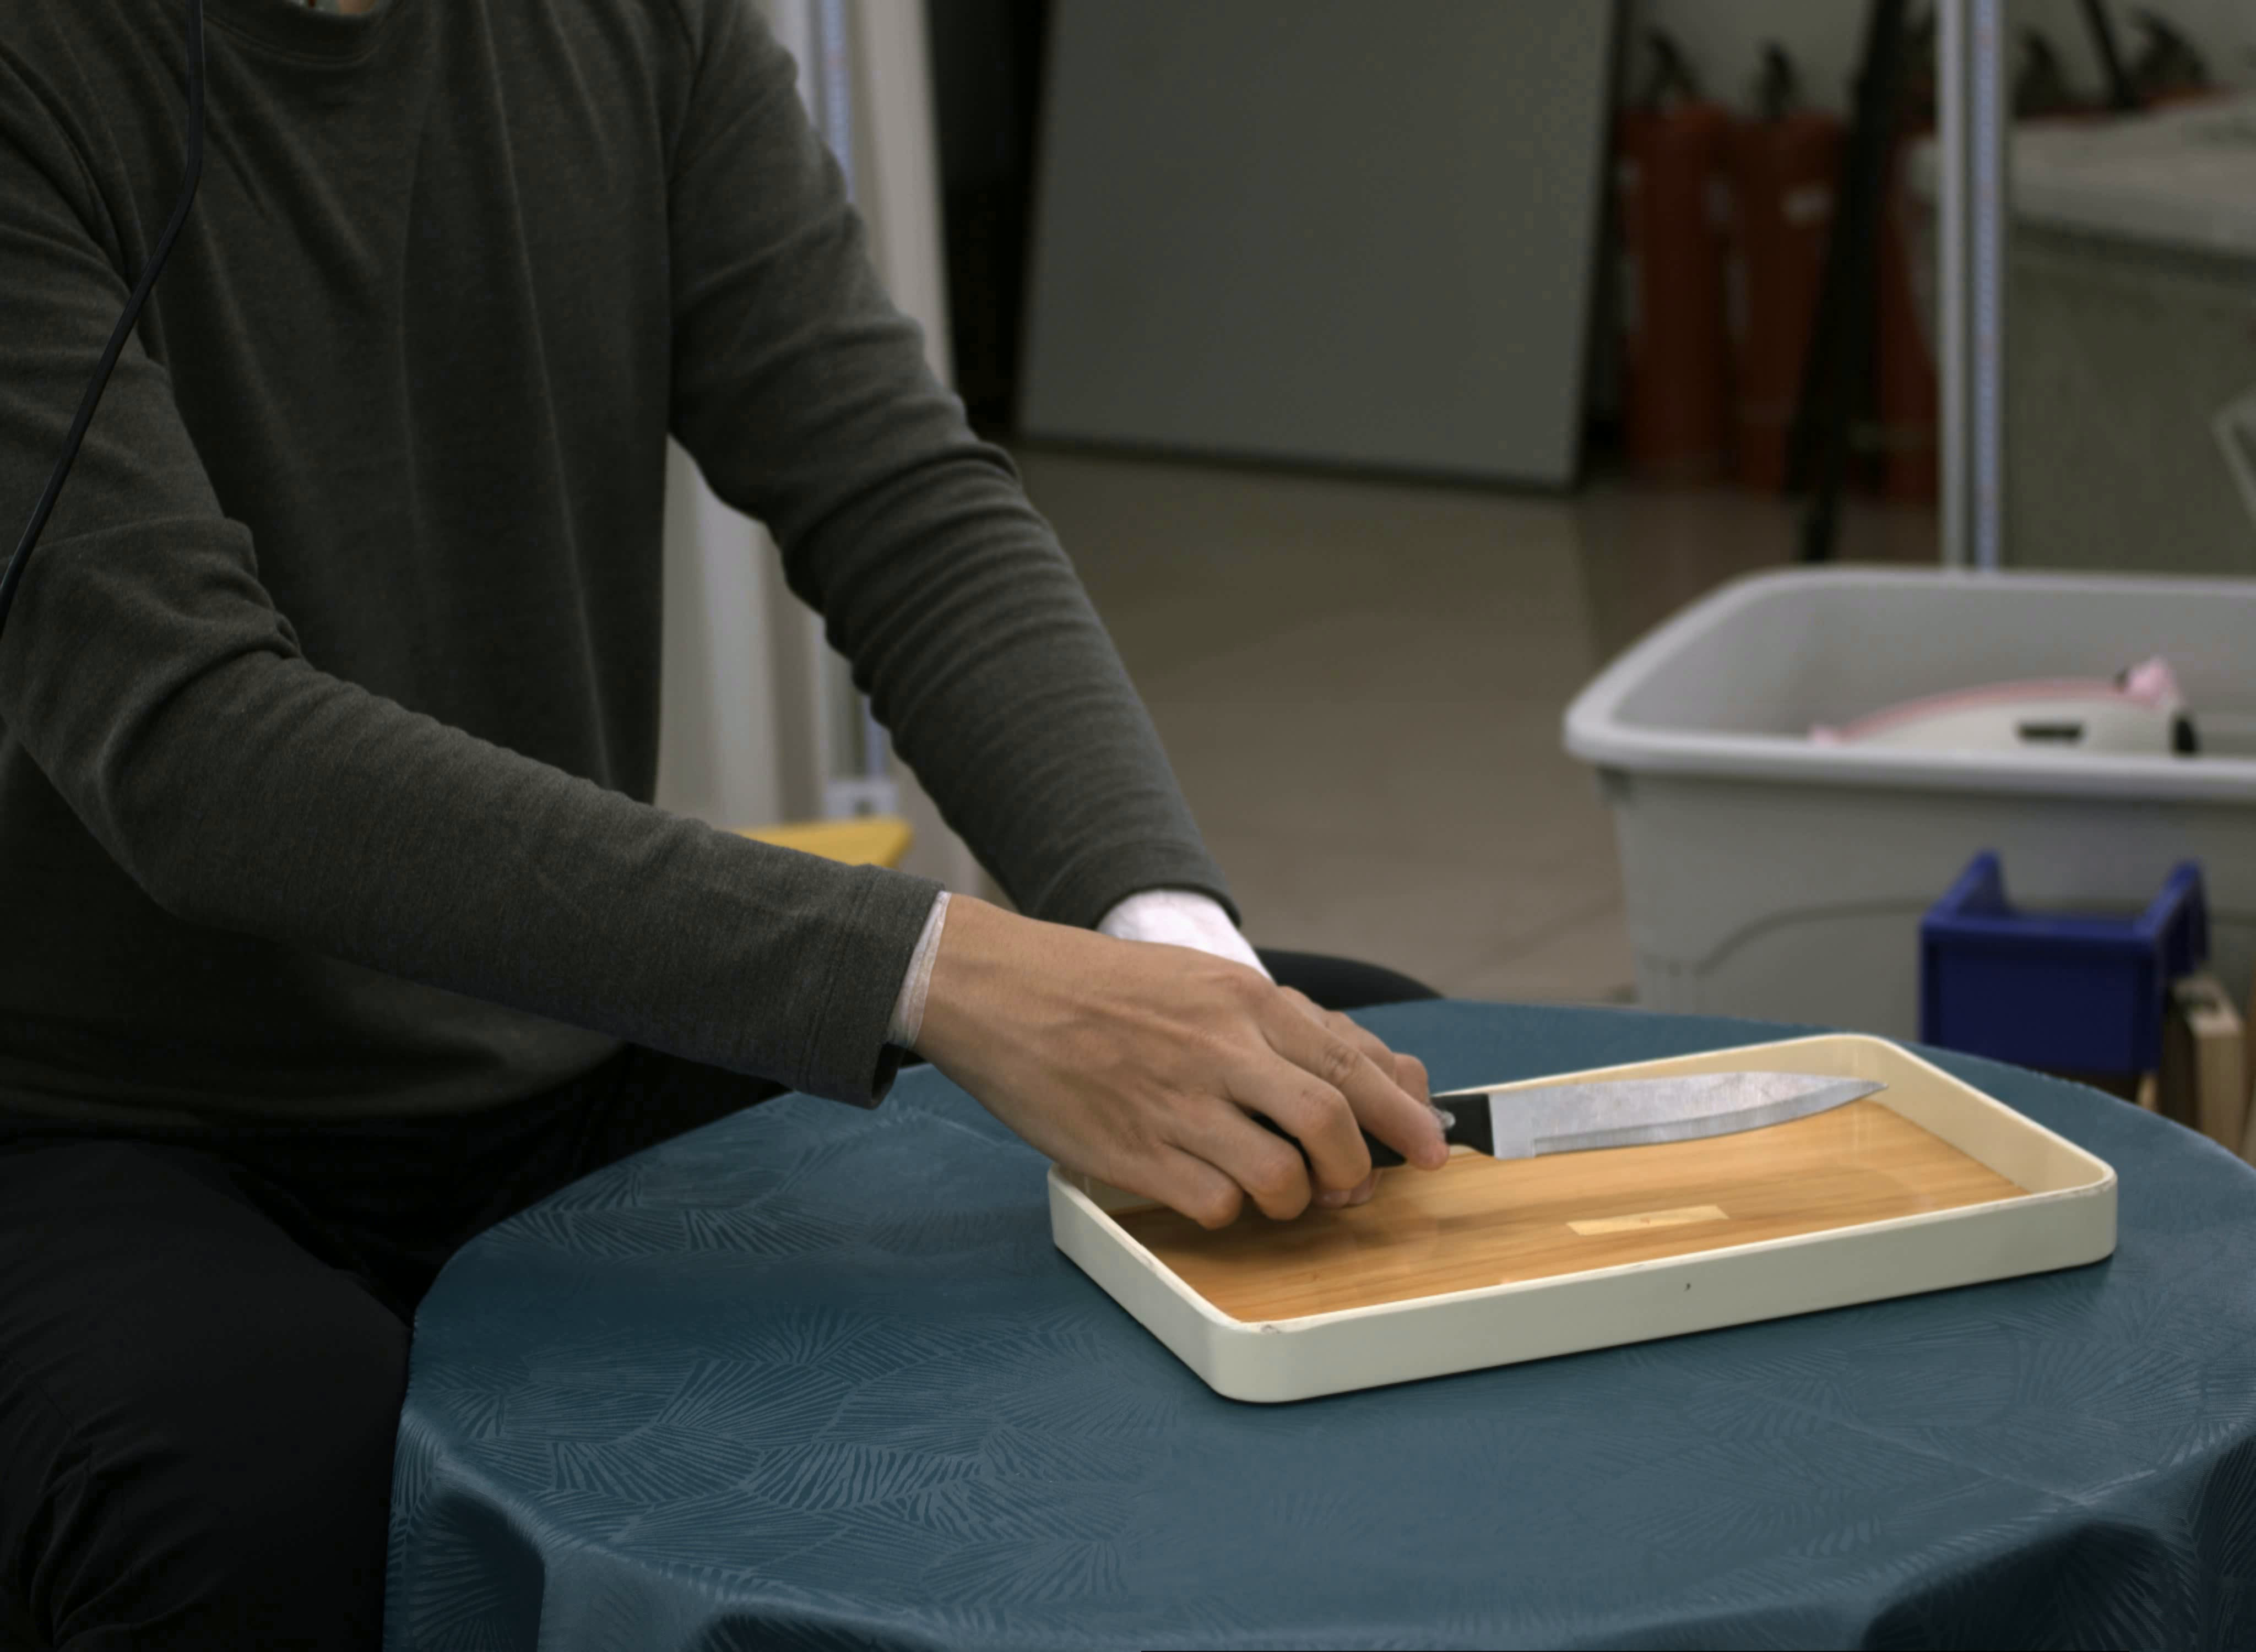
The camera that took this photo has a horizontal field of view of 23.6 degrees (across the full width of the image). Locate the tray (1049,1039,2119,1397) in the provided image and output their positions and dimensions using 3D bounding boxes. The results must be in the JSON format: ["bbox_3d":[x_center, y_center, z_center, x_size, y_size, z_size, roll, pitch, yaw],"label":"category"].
[{"bbox_3d":[0.140,0.120,1.684,0.294,0.028,0.193,-8,13,-16],"label":"tray"}]

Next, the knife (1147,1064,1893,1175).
[{"bbox_3d":[0.122,0.090,1.690,0.236,0.025,0.016,-5,-10,9],"label":"knife"}]
